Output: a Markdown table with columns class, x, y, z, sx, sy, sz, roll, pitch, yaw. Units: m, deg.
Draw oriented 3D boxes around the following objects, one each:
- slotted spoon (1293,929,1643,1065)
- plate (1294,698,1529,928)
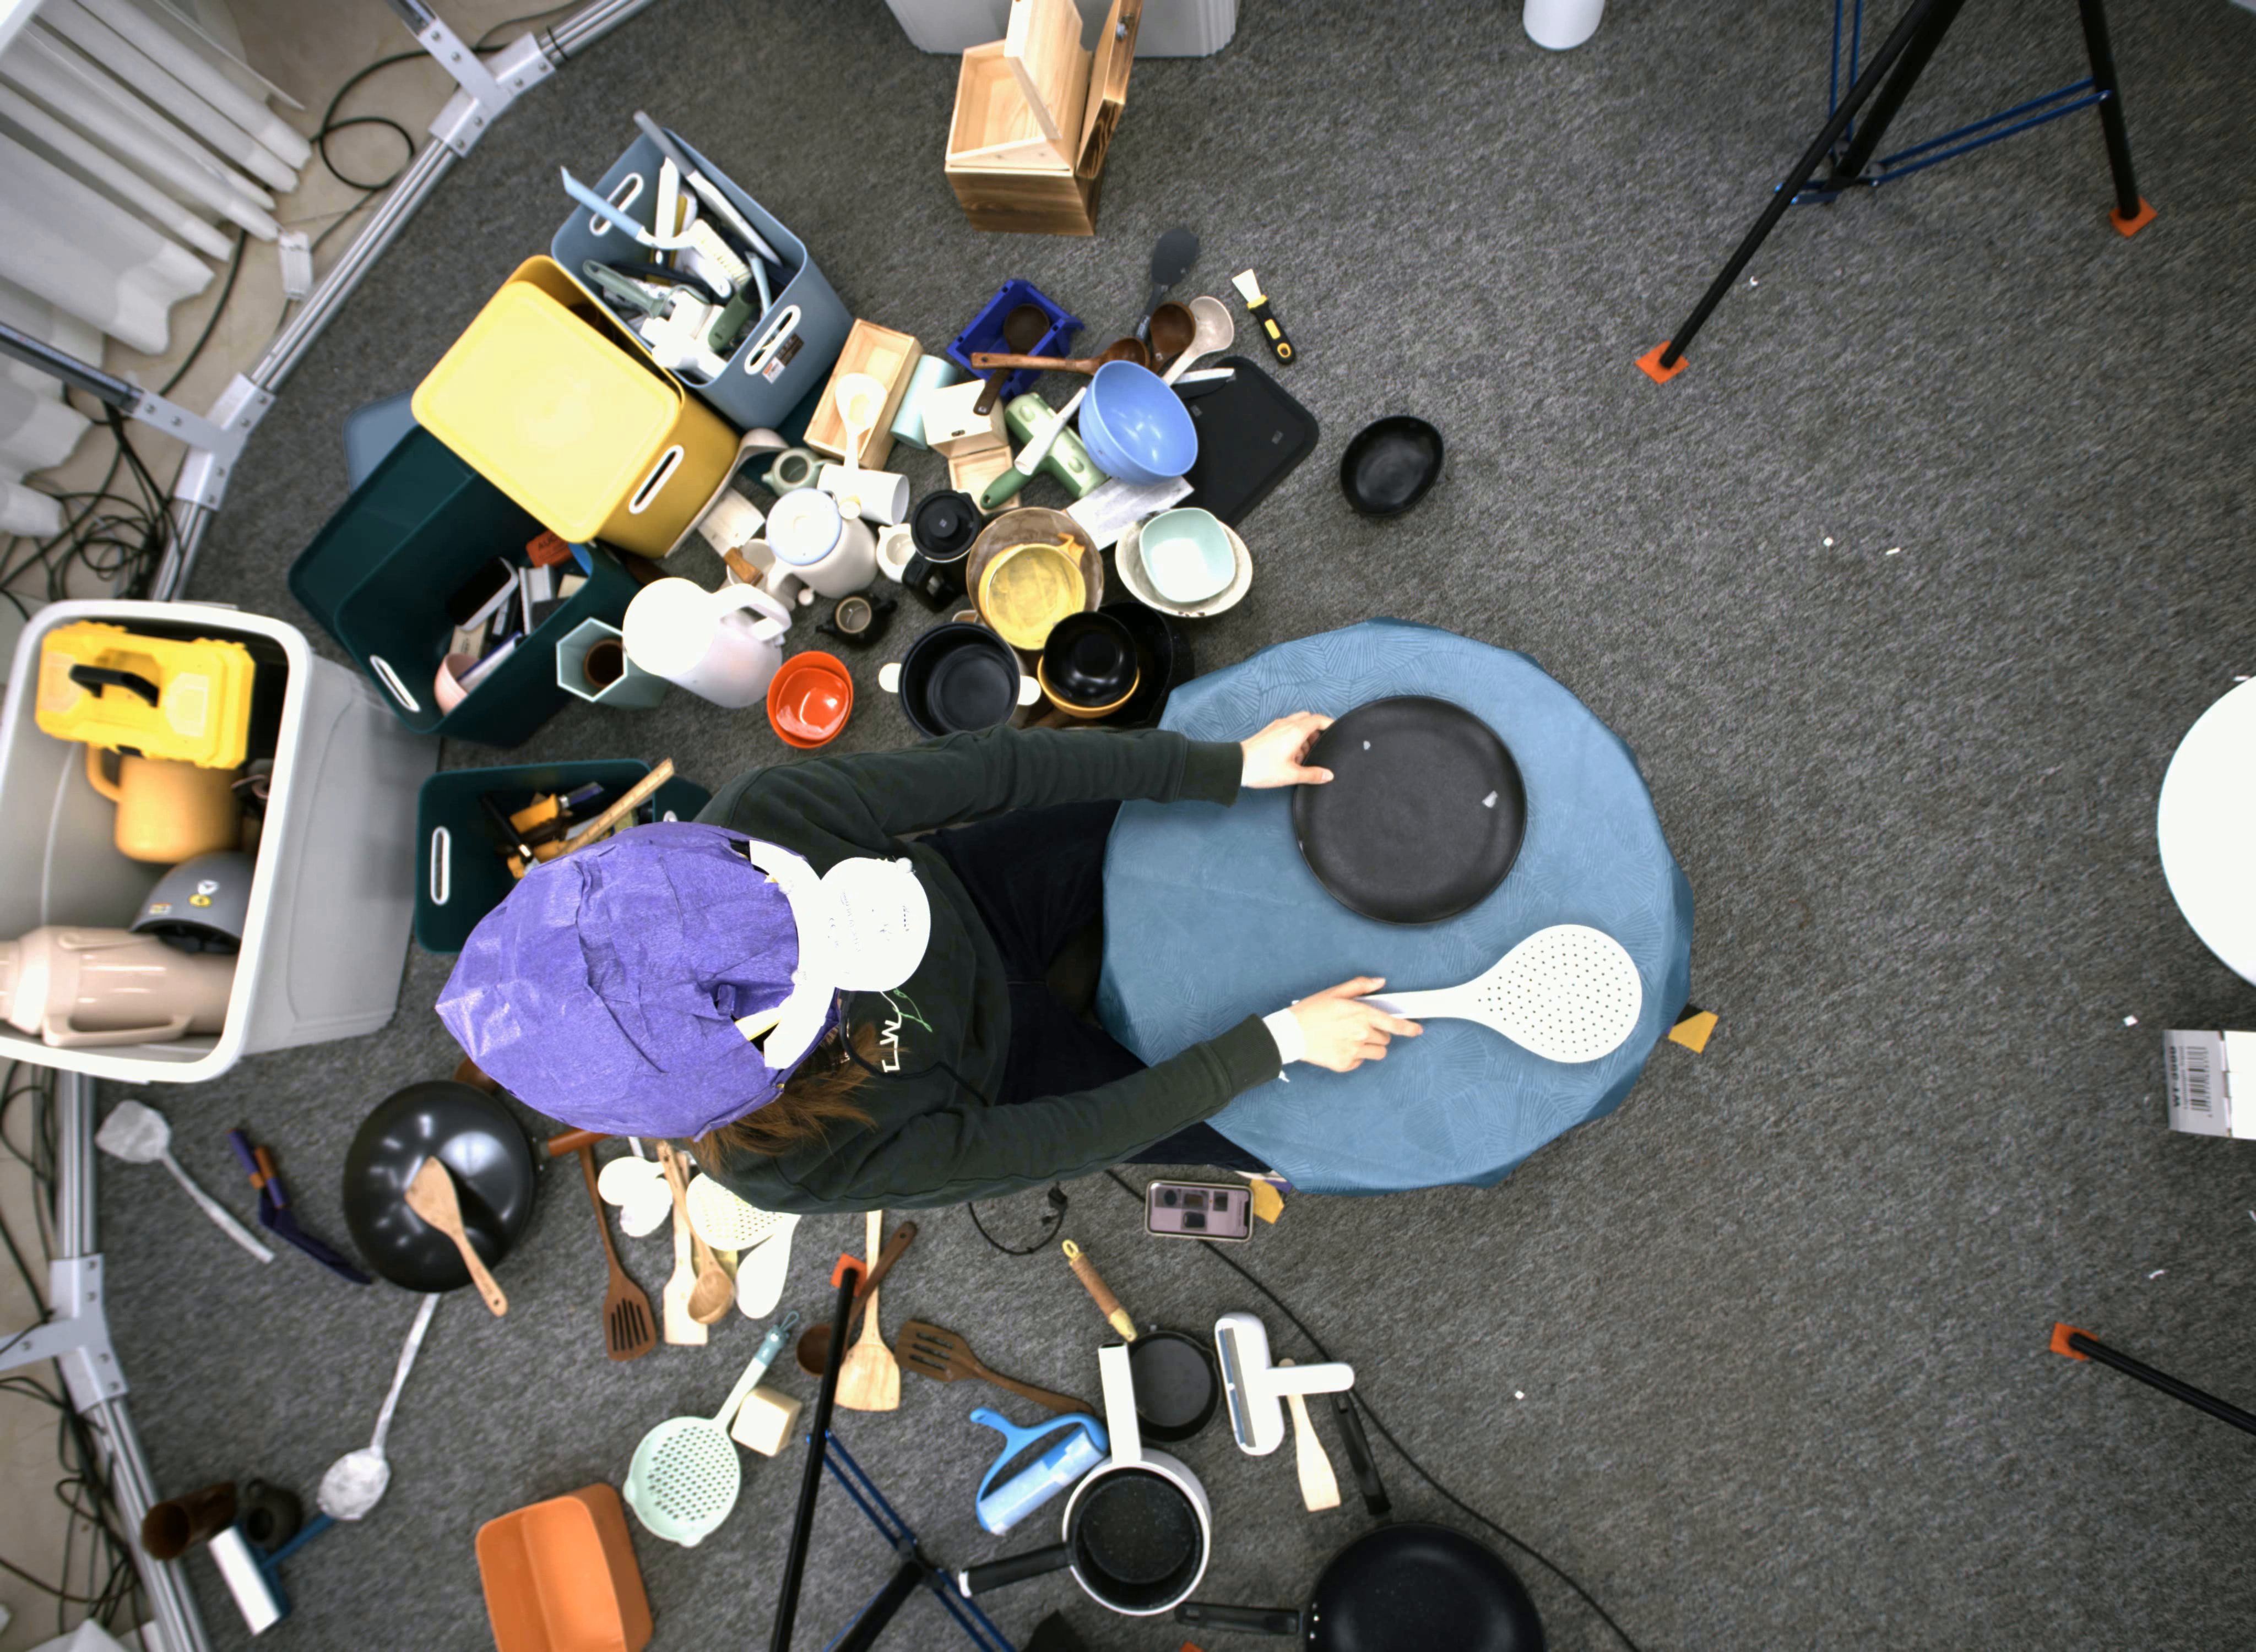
| class | x | y | z | sx | sy | sz | roll | pitch | yaw |
| --- | --- | --- | --- | --- | --- | --- | --- | --- | --- |
| slotted spoon | 0.345 | 0.181 | 1.421 | 0.351 | 0.046 | 0.135 | -5 | 83 | 11 |
| plate | 0.297 | -0.015 | 1.454 | 0.245 | 0.023 | 0.243 | -1 | 86 | 10 |
